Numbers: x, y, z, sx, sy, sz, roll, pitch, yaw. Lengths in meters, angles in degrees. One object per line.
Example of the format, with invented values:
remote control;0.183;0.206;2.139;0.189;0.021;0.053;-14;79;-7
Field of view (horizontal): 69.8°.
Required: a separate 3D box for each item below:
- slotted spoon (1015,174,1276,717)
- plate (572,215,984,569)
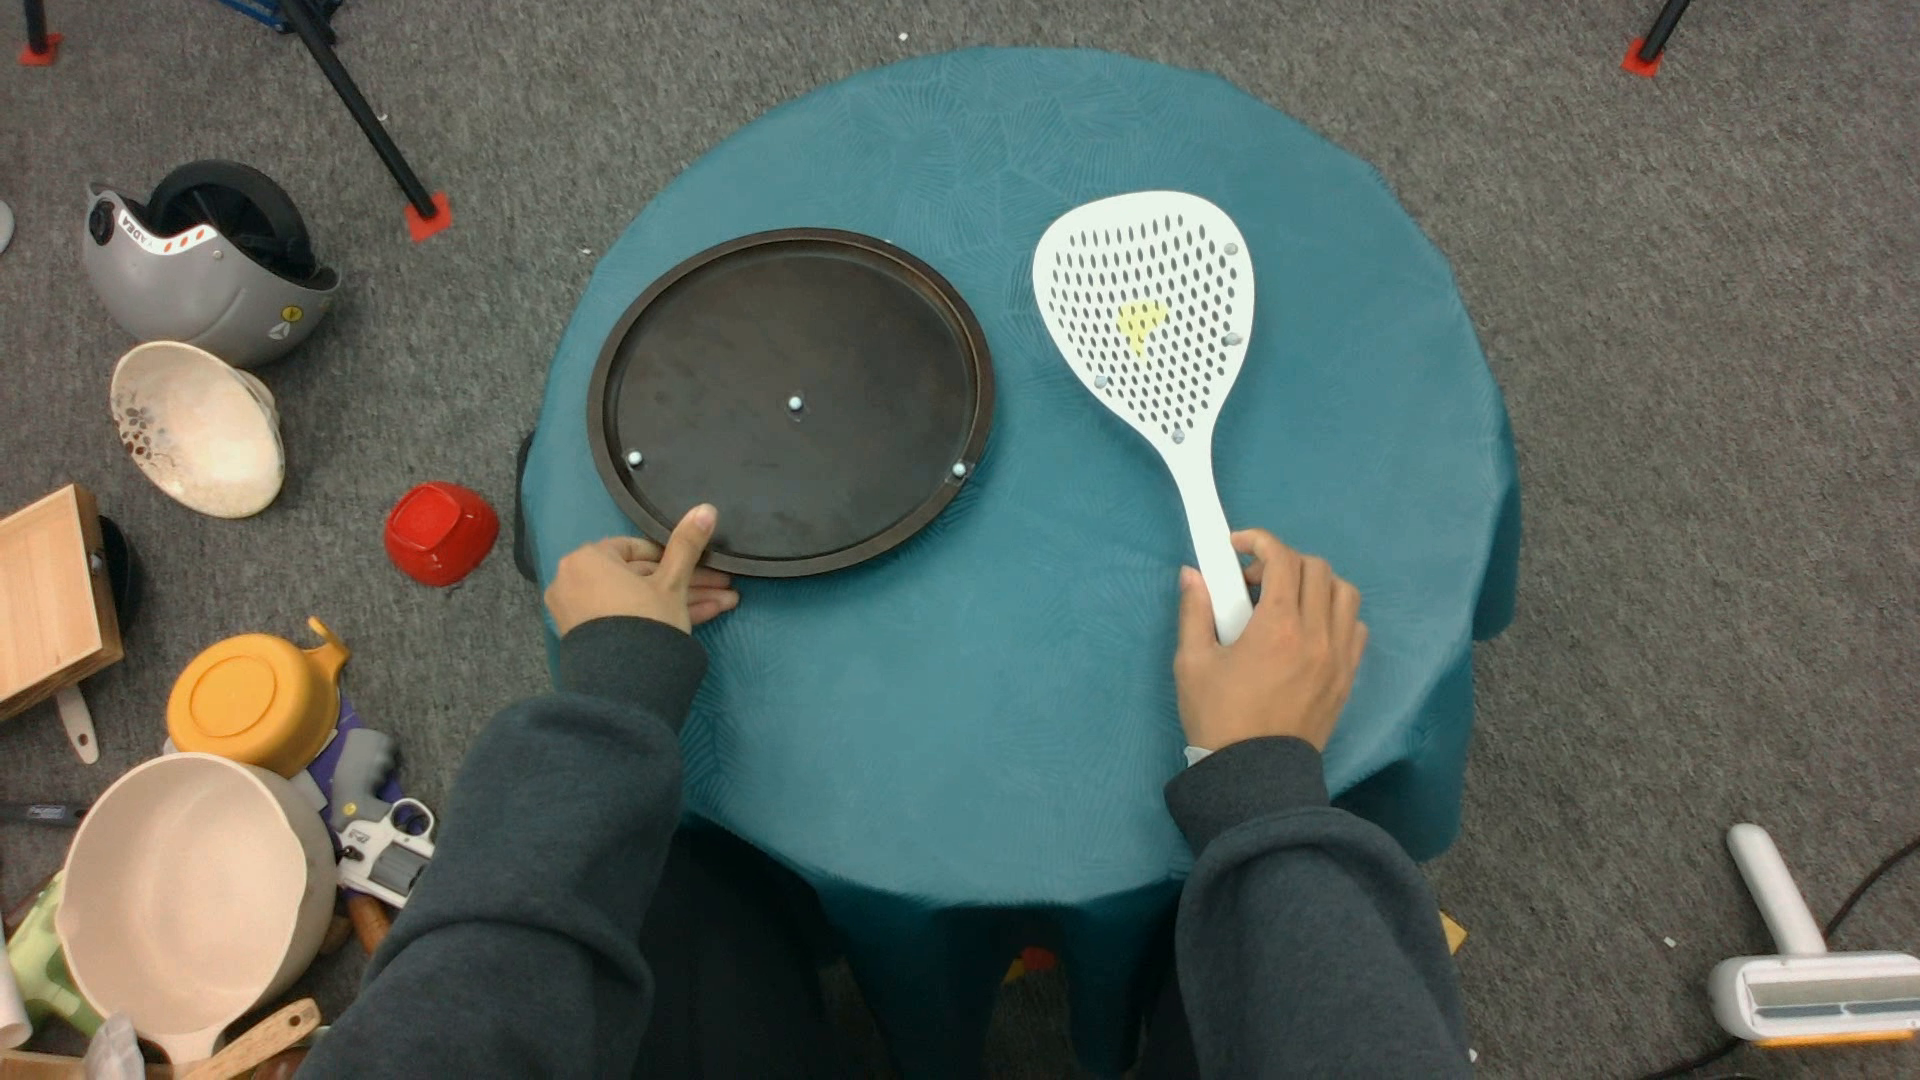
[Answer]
slotted spoon;0.126;-0.065;0.821;0.137;0.050;0.349;-11;66;-4
plate;-0.112;-0.096;0.853;0.255;0.029;0.255;0;65;0
